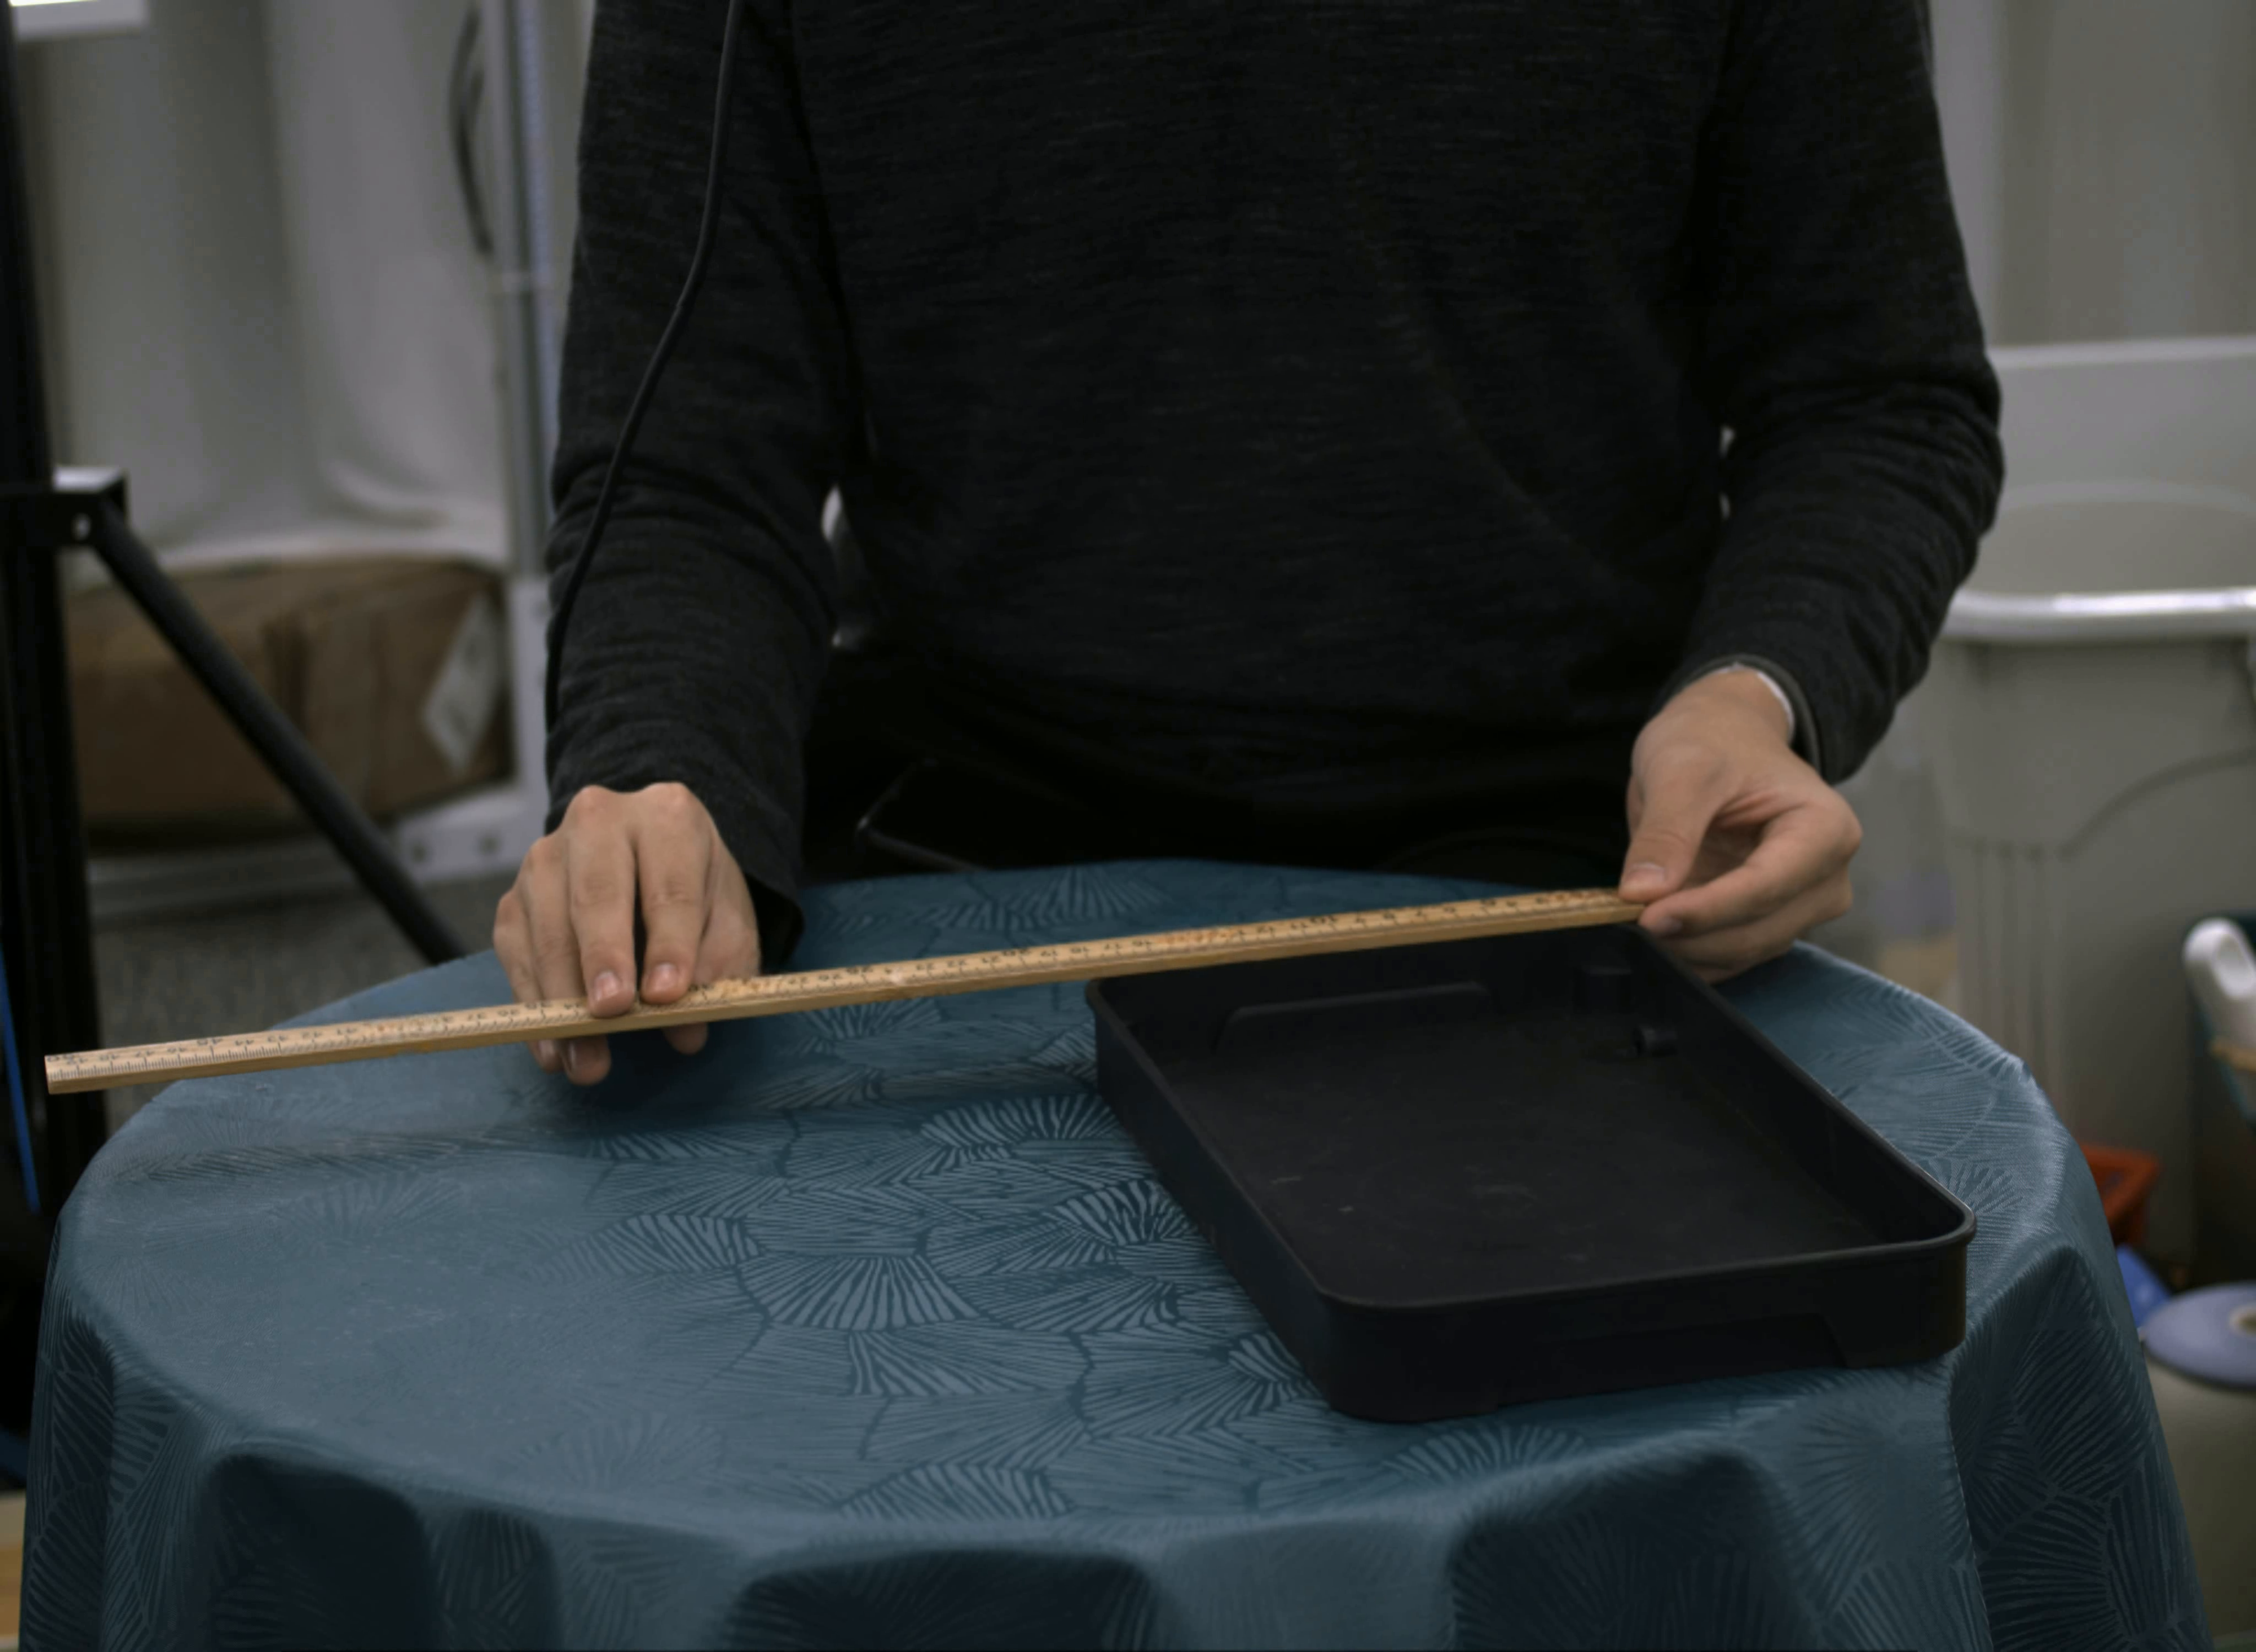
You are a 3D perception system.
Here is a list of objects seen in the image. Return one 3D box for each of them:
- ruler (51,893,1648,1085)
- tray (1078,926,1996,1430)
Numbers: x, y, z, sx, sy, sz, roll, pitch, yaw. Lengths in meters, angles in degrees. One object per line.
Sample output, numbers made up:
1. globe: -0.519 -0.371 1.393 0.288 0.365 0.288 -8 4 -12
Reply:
1. ruler: -0.081 0.049 1.648 0.494 0.006 0.027 -6 13 -9
2. tray: 0.108 0.095 1.521 0.181 0.037 0.322 -6 15 -13
